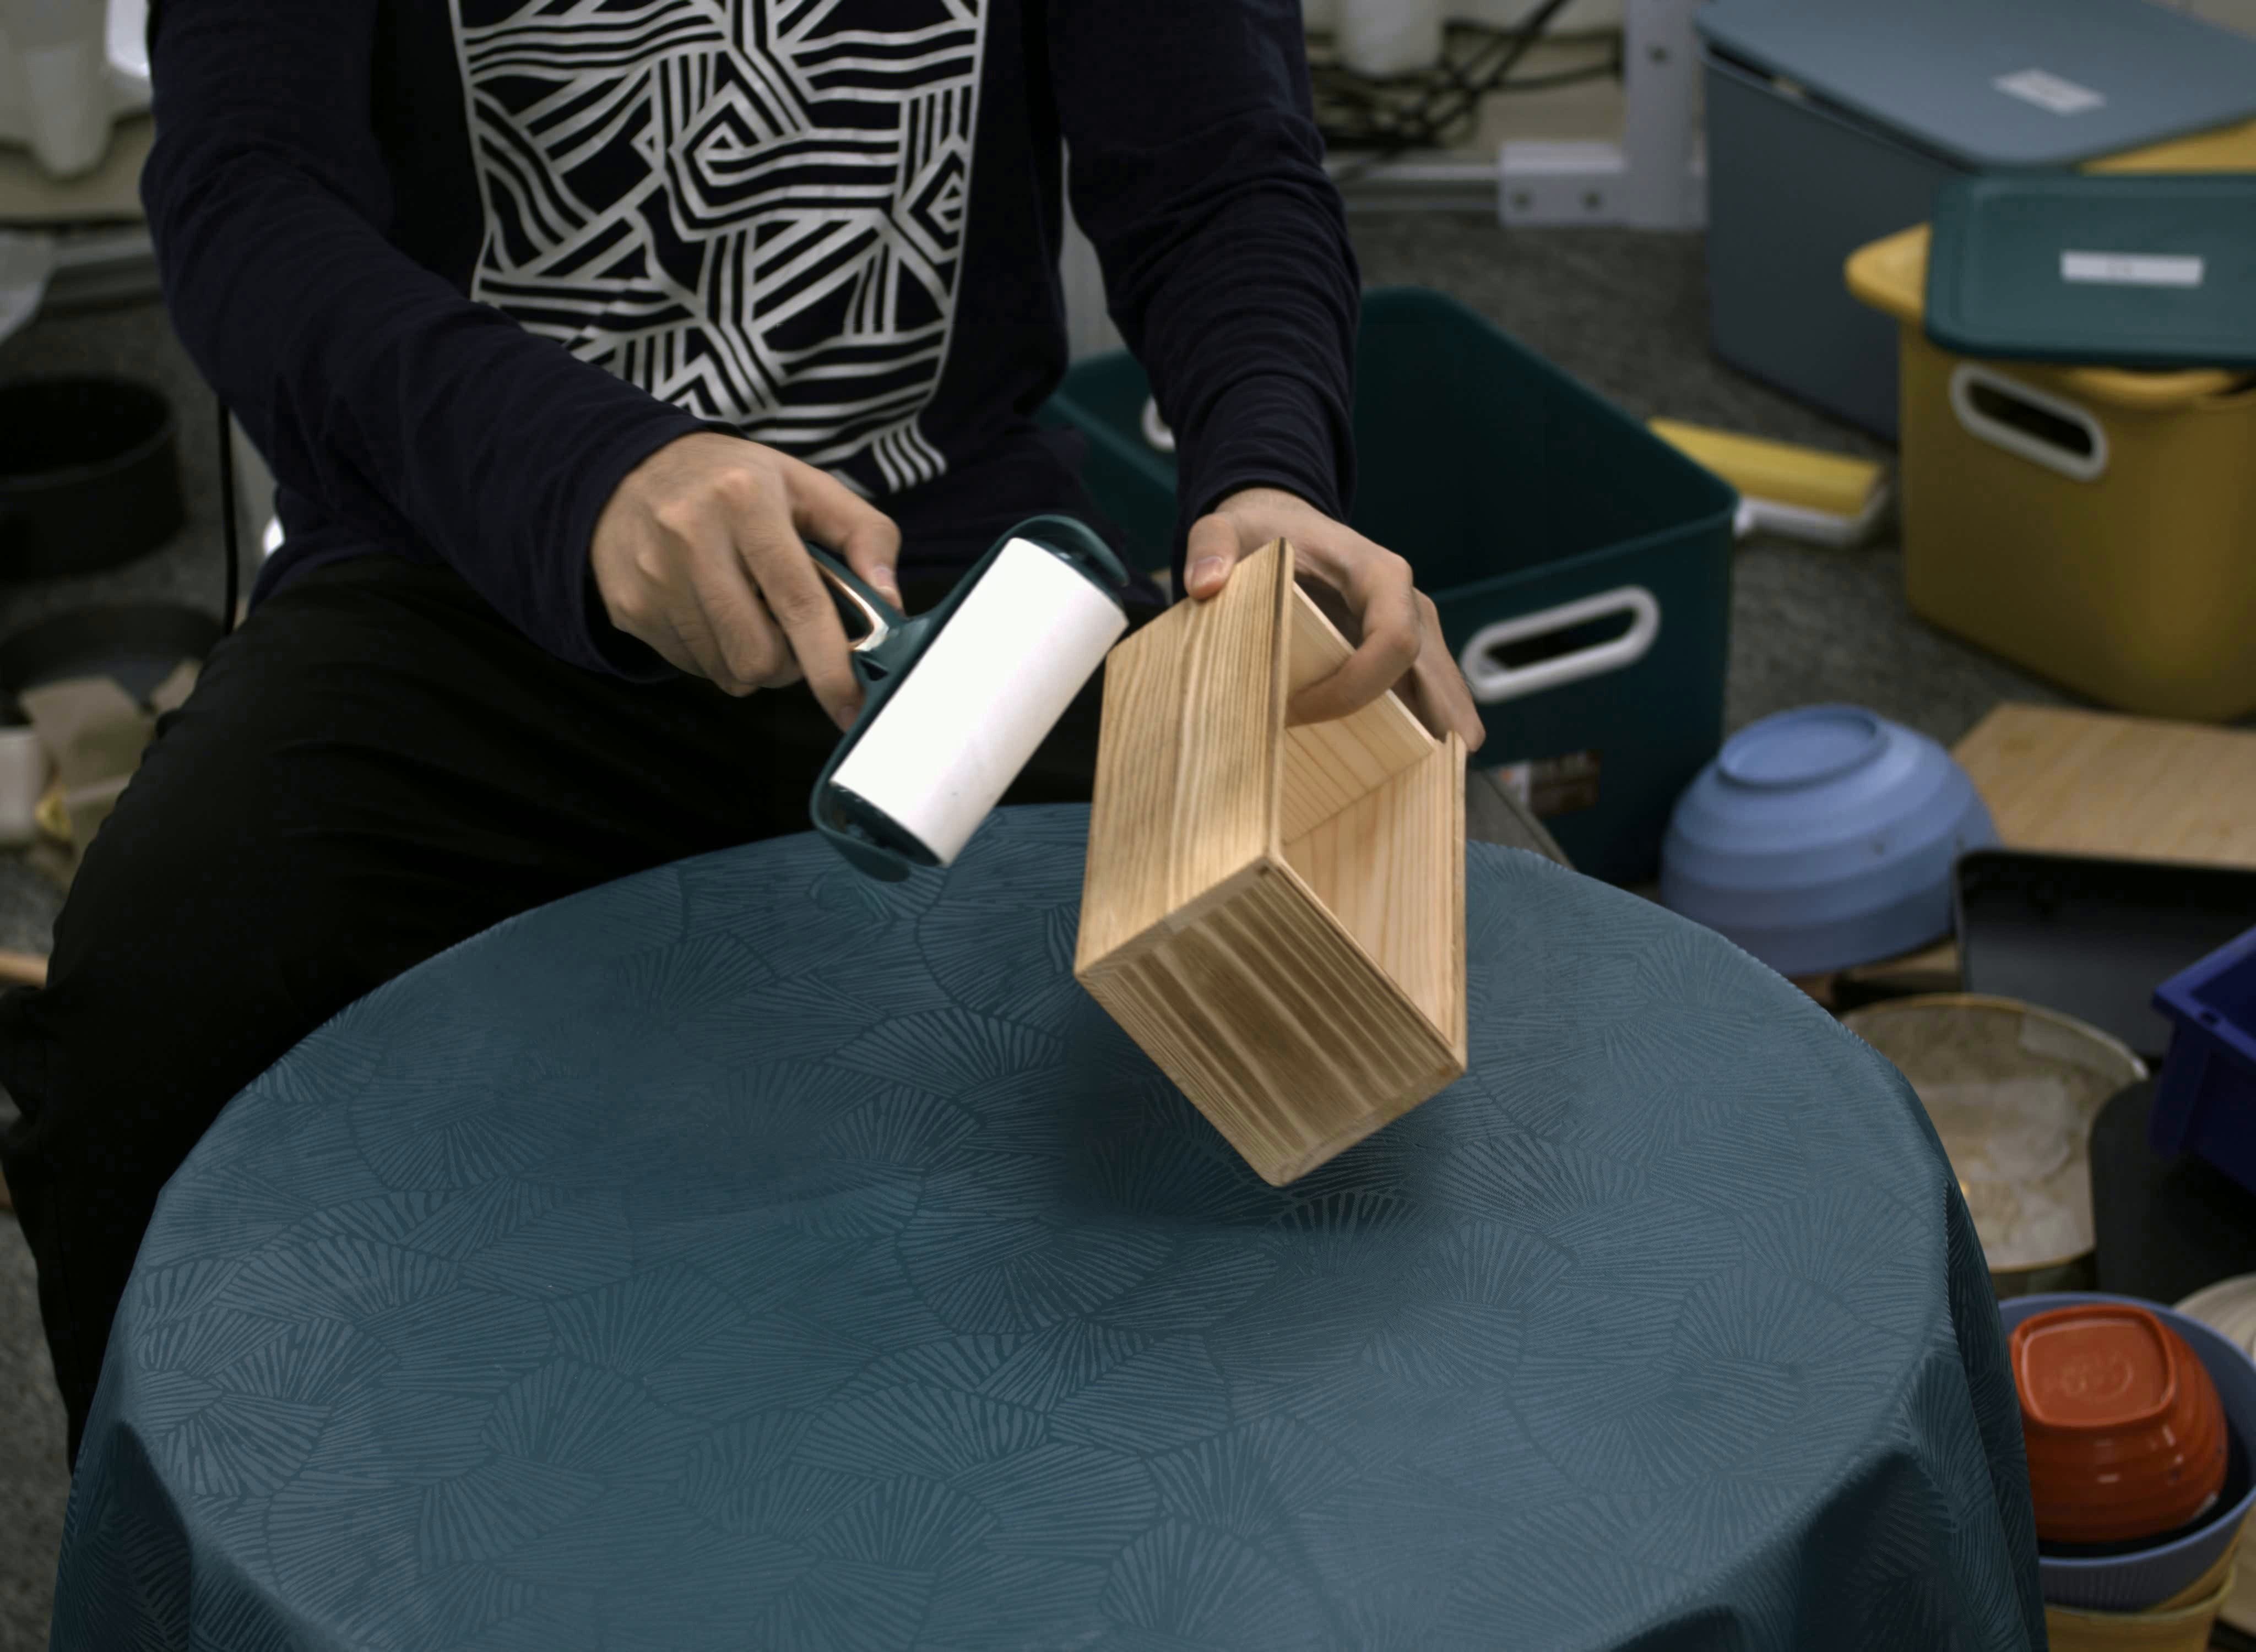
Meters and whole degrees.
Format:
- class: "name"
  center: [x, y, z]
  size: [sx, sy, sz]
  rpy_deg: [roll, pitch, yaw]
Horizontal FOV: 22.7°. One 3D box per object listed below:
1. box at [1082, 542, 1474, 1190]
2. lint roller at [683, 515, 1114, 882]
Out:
- class: "box"
  center: [0.051, 0.010, 1.885]
  size: [0.079, 0.107, 0.215]
  rpy_deg: [-34, 24, 20]
- class: "lint roller"
  center: [-0.097, -0.067, 1.855]
  size: [0.180, 0.048, 0.135]
  rpy_deg: [30, 78, 39]
